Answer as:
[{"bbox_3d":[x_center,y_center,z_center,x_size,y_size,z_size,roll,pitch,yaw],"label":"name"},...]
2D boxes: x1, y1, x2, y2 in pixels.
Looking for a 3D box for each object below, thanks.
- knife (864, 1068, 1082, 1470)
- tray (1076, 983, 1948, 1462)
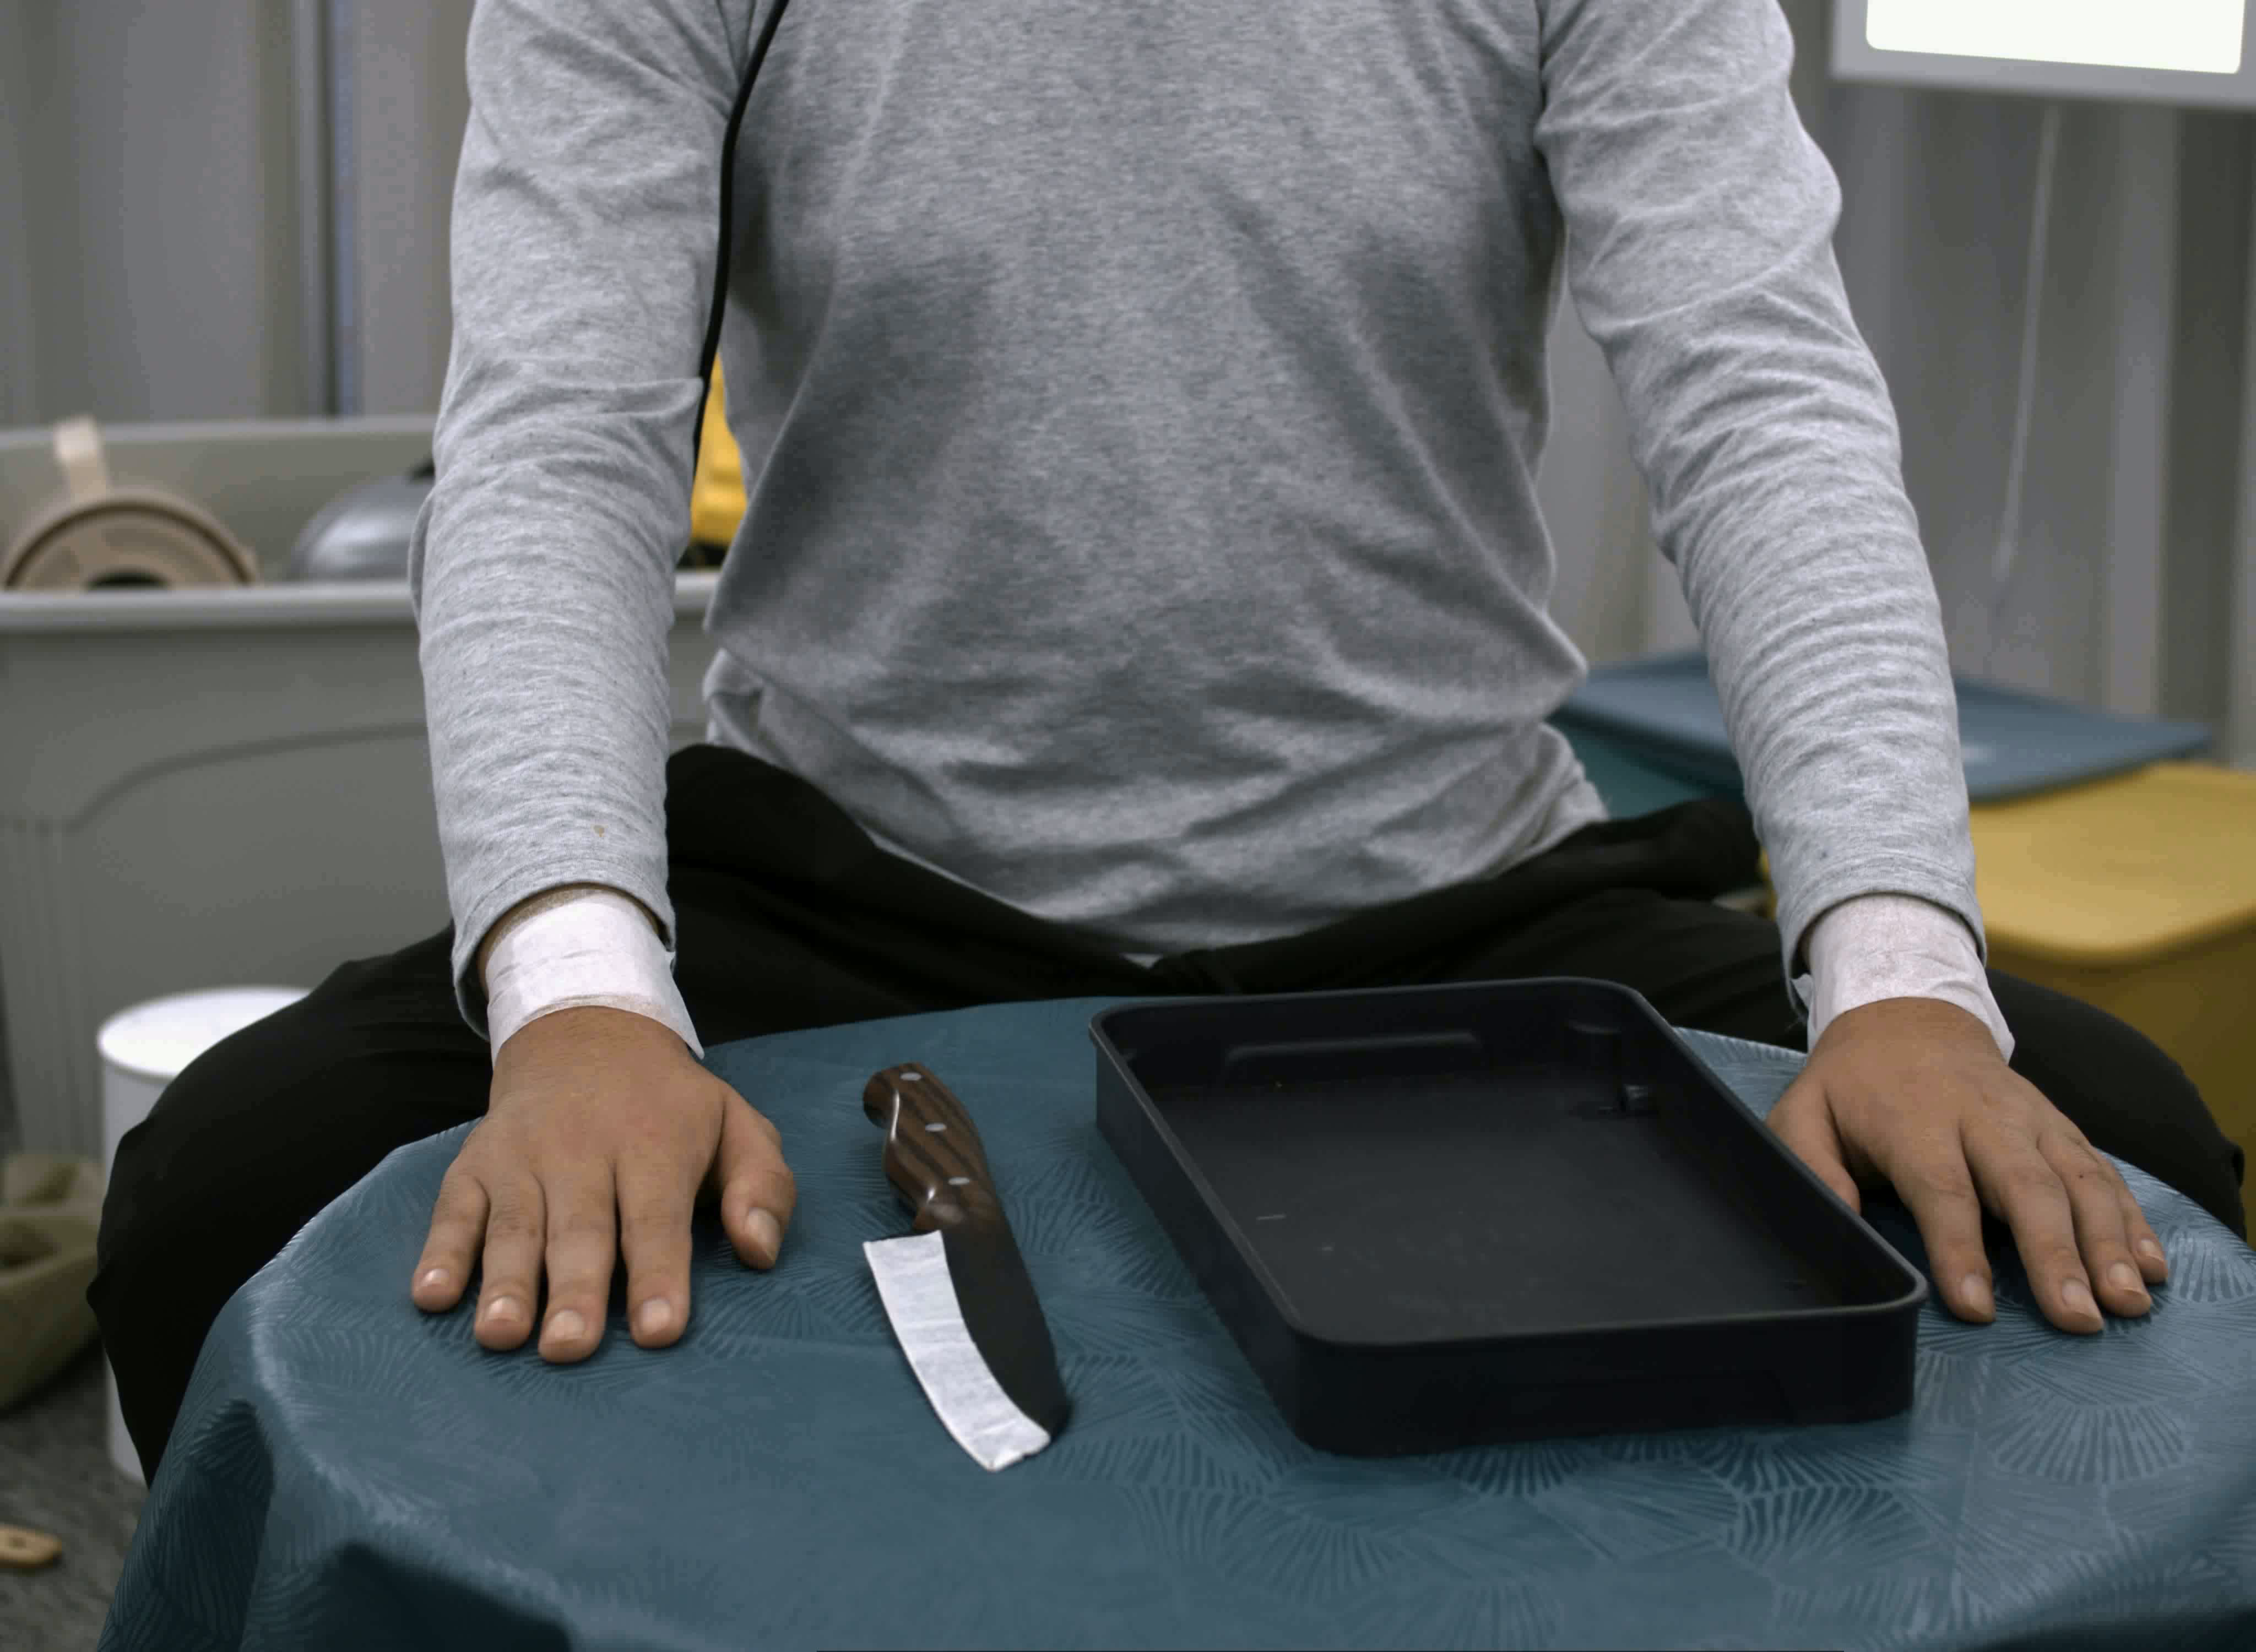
[{"bbox_3d":[-0.051,0.128,1.539,0.050,0.020,0.286,-6,18,-6],"label":"knife"},{"bbox_3d":[0.105,0.111,1.567,0.184,0.037,0.315,-3,15,-14],"label":"tray"}]
